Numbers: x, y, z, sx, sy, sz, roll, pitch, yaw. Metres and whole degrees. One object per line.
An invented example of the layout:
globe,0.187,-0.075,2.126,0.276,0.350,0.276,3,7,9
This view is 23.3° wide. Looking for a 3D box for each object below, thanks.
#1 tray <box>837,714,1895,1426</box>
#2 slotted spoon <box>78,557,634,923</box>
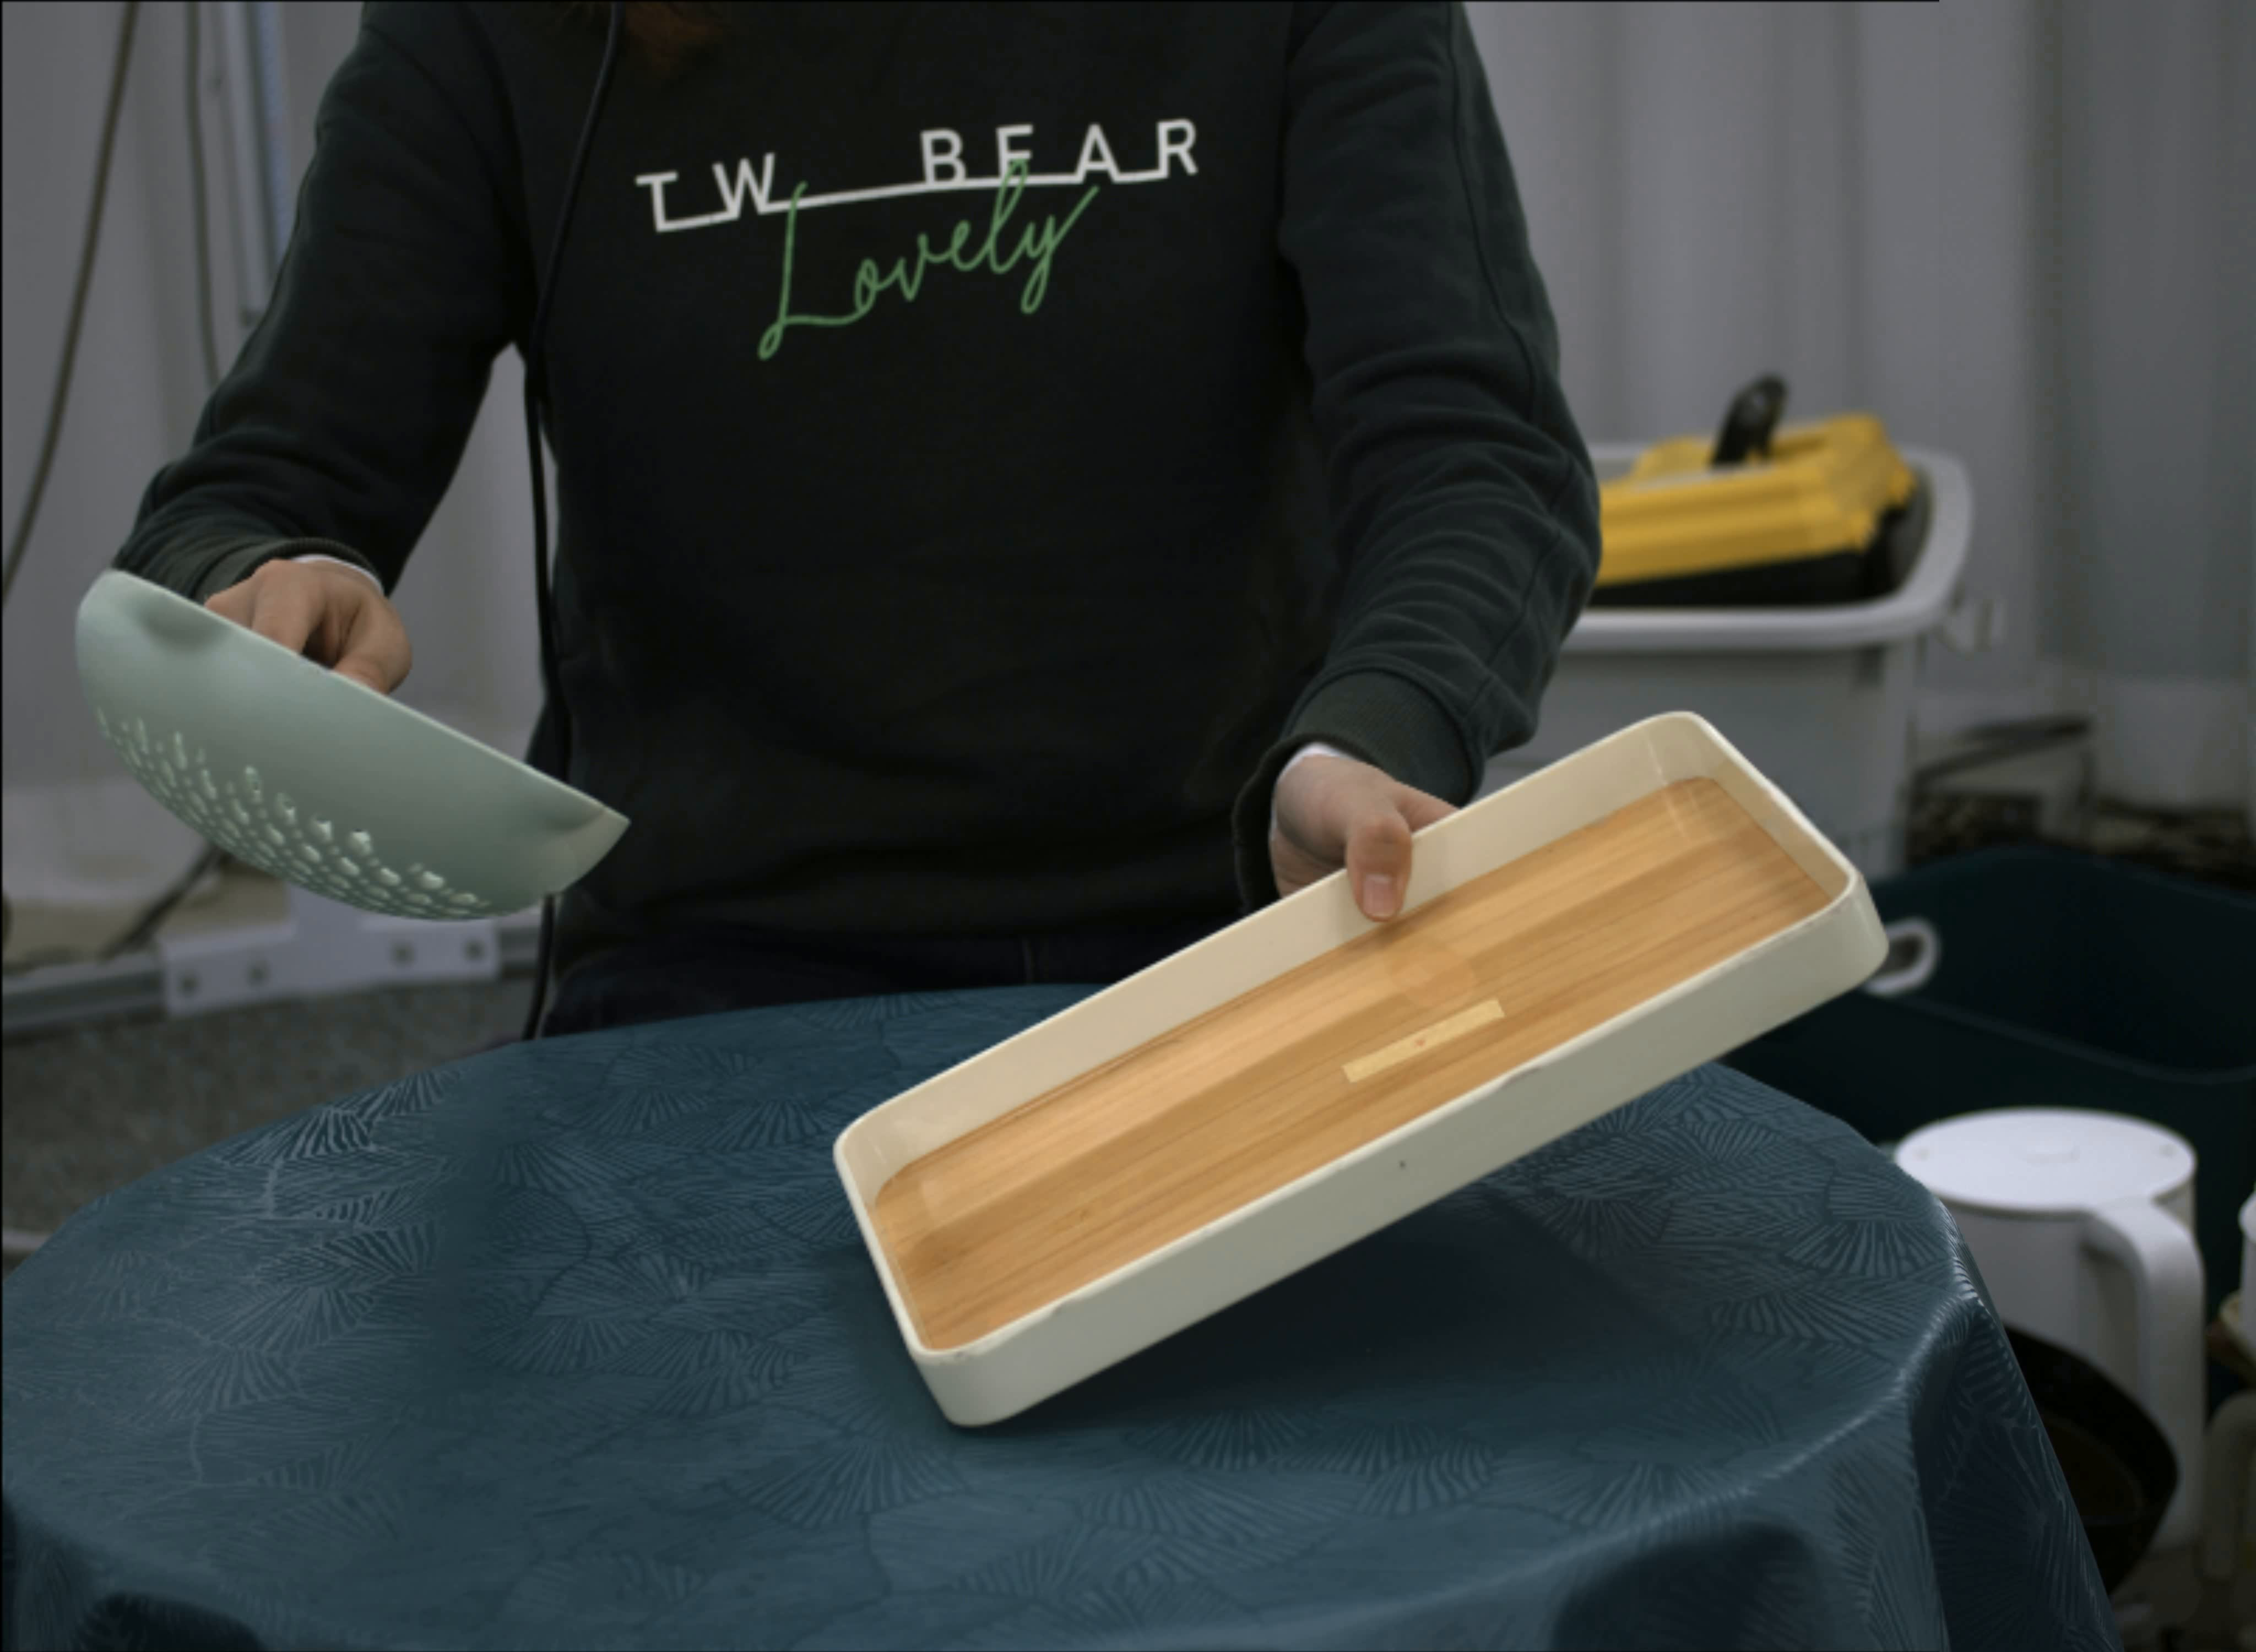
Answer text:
tray,0.064,0.067,1.601,0.300,0.027,0.193,-26,21,-2
slotted spoon,-0.242,-0.027,1.641,0.168,0.075,0.360,28,3,-11
